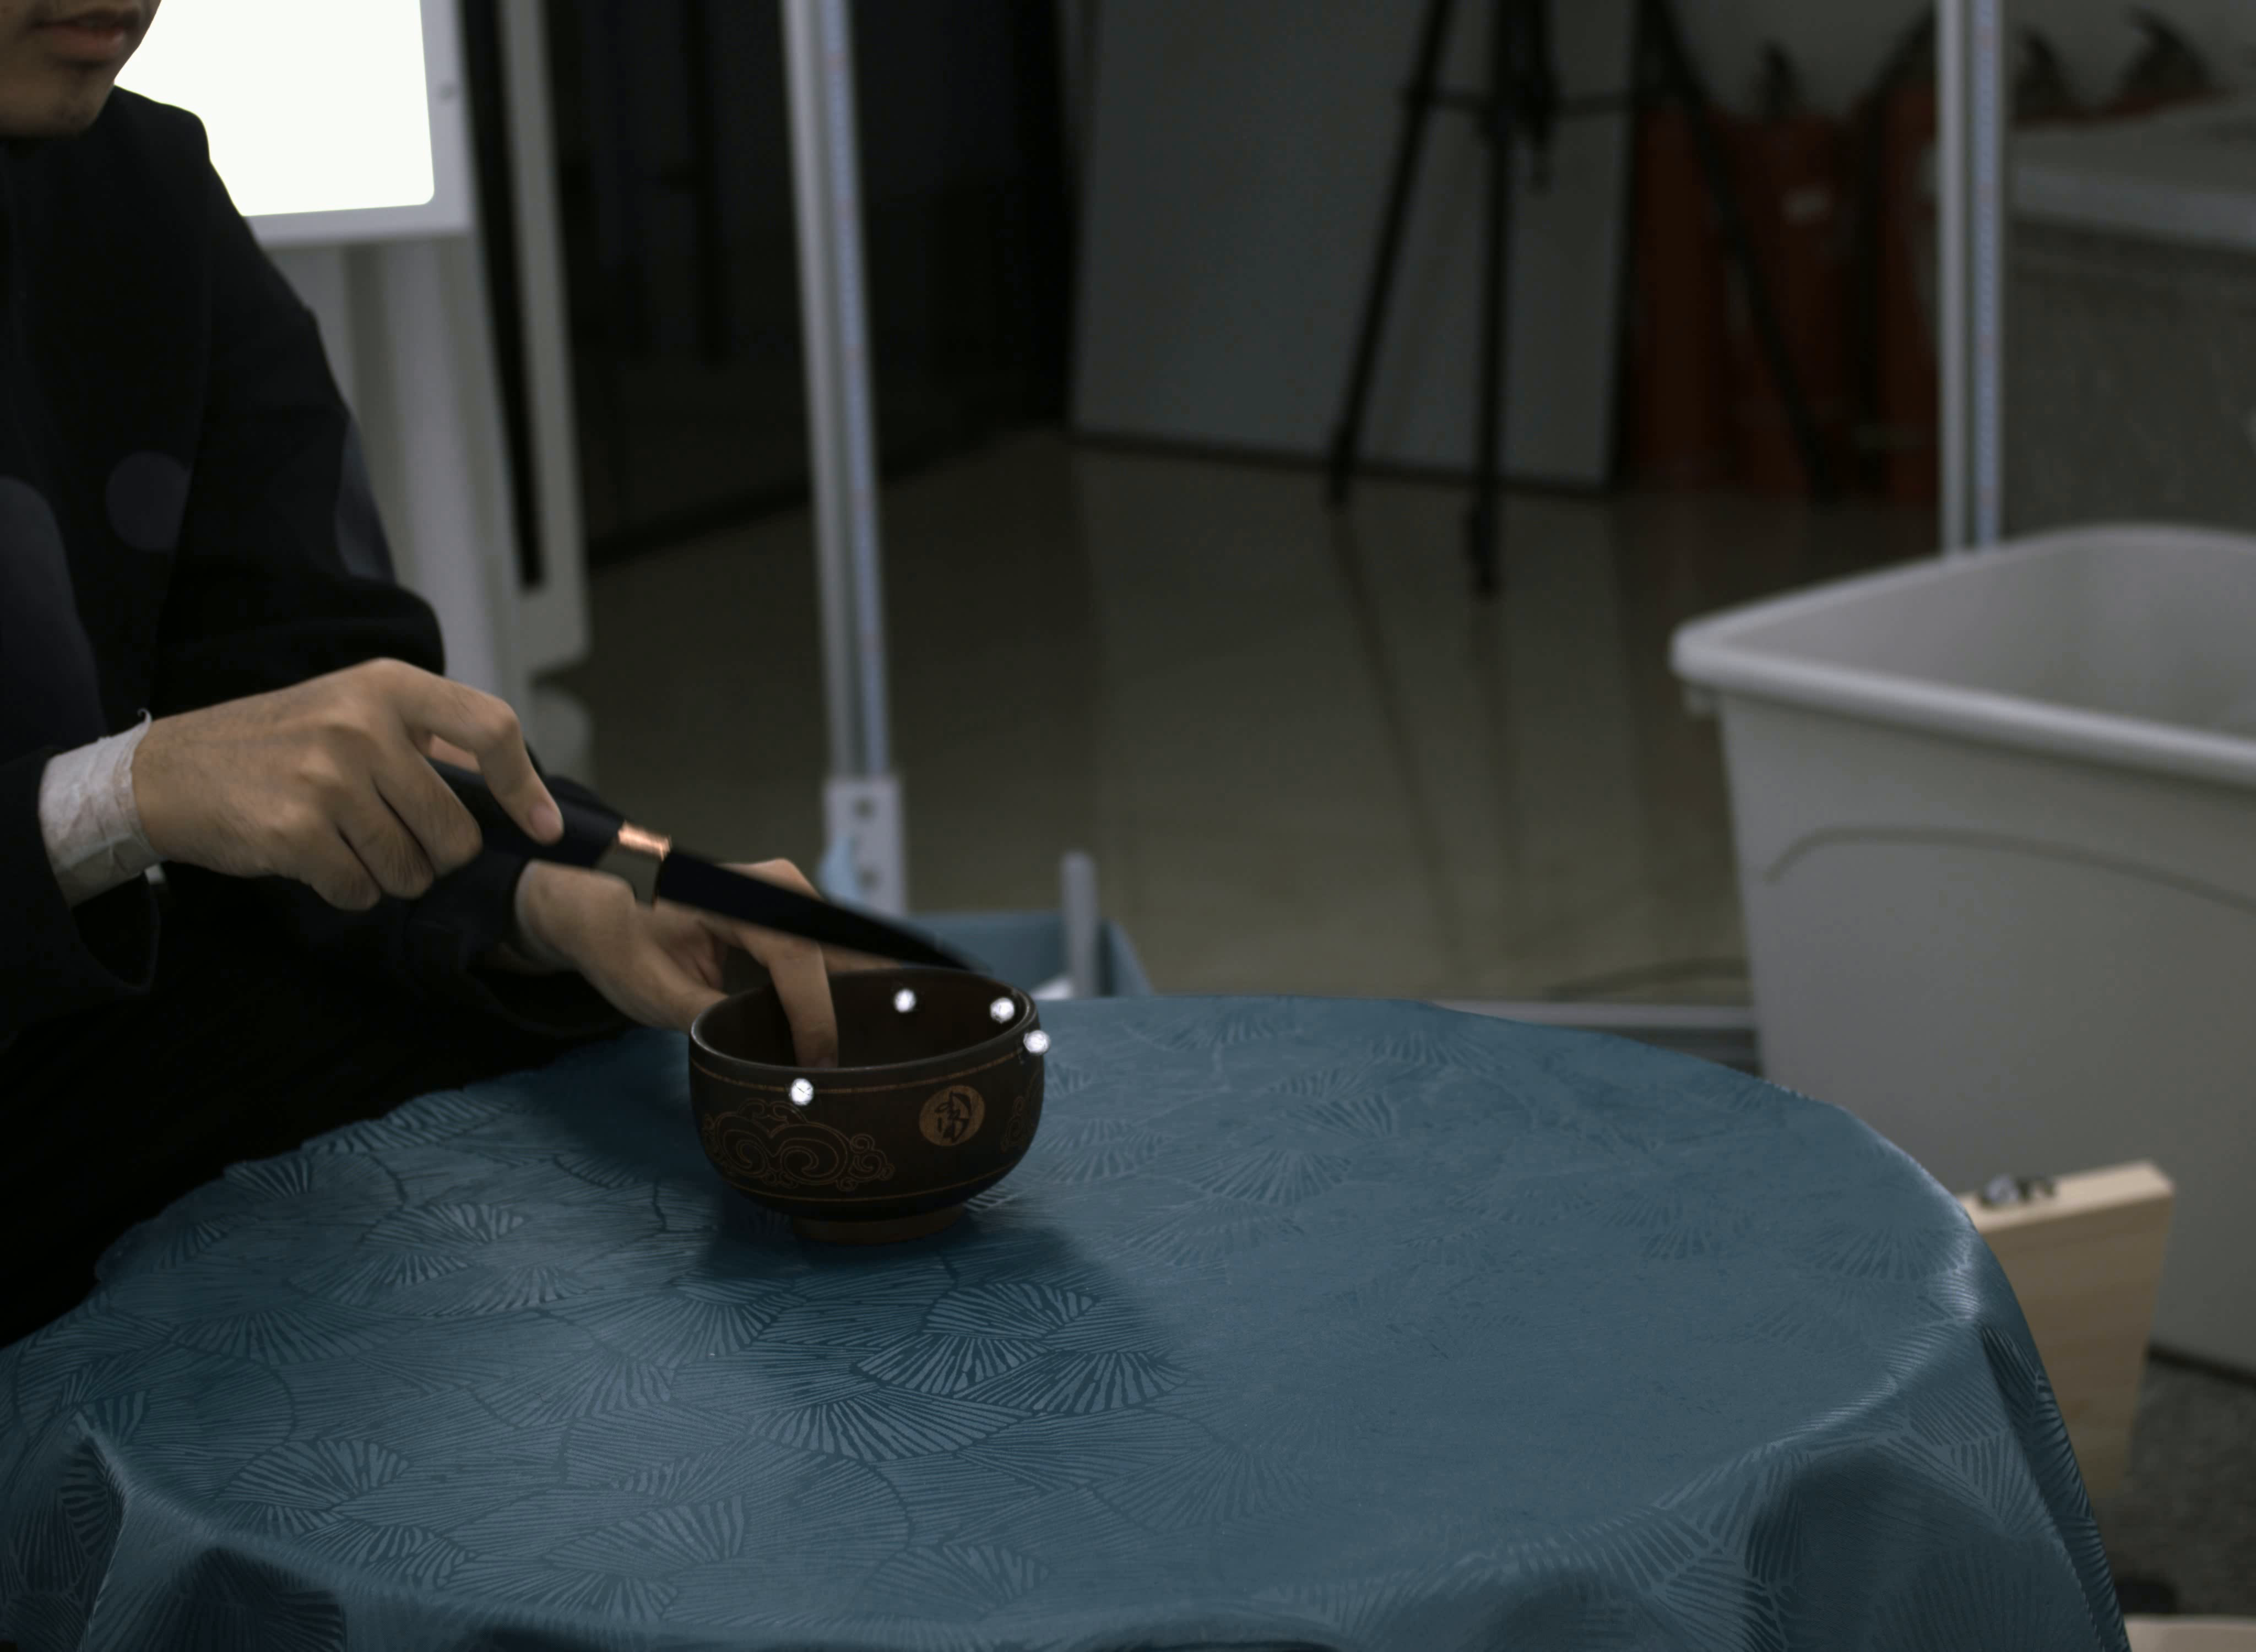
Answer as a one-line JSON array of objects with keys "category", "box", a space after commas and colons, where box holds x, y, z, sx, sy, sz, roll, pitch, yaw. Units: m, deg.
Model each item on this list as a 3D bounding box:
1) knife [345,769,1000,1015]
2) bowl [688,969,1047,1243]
[{"category": "knife", "box": [-0.147, 0.023, 1.747, 0.223, 0.017, 0.026, 19, -8, 3]}, {"category": "bowl", "box": [-0.083, 0.094, 1.750, 0.116, 0.070, 0.118, -4, 11, 0]}]
